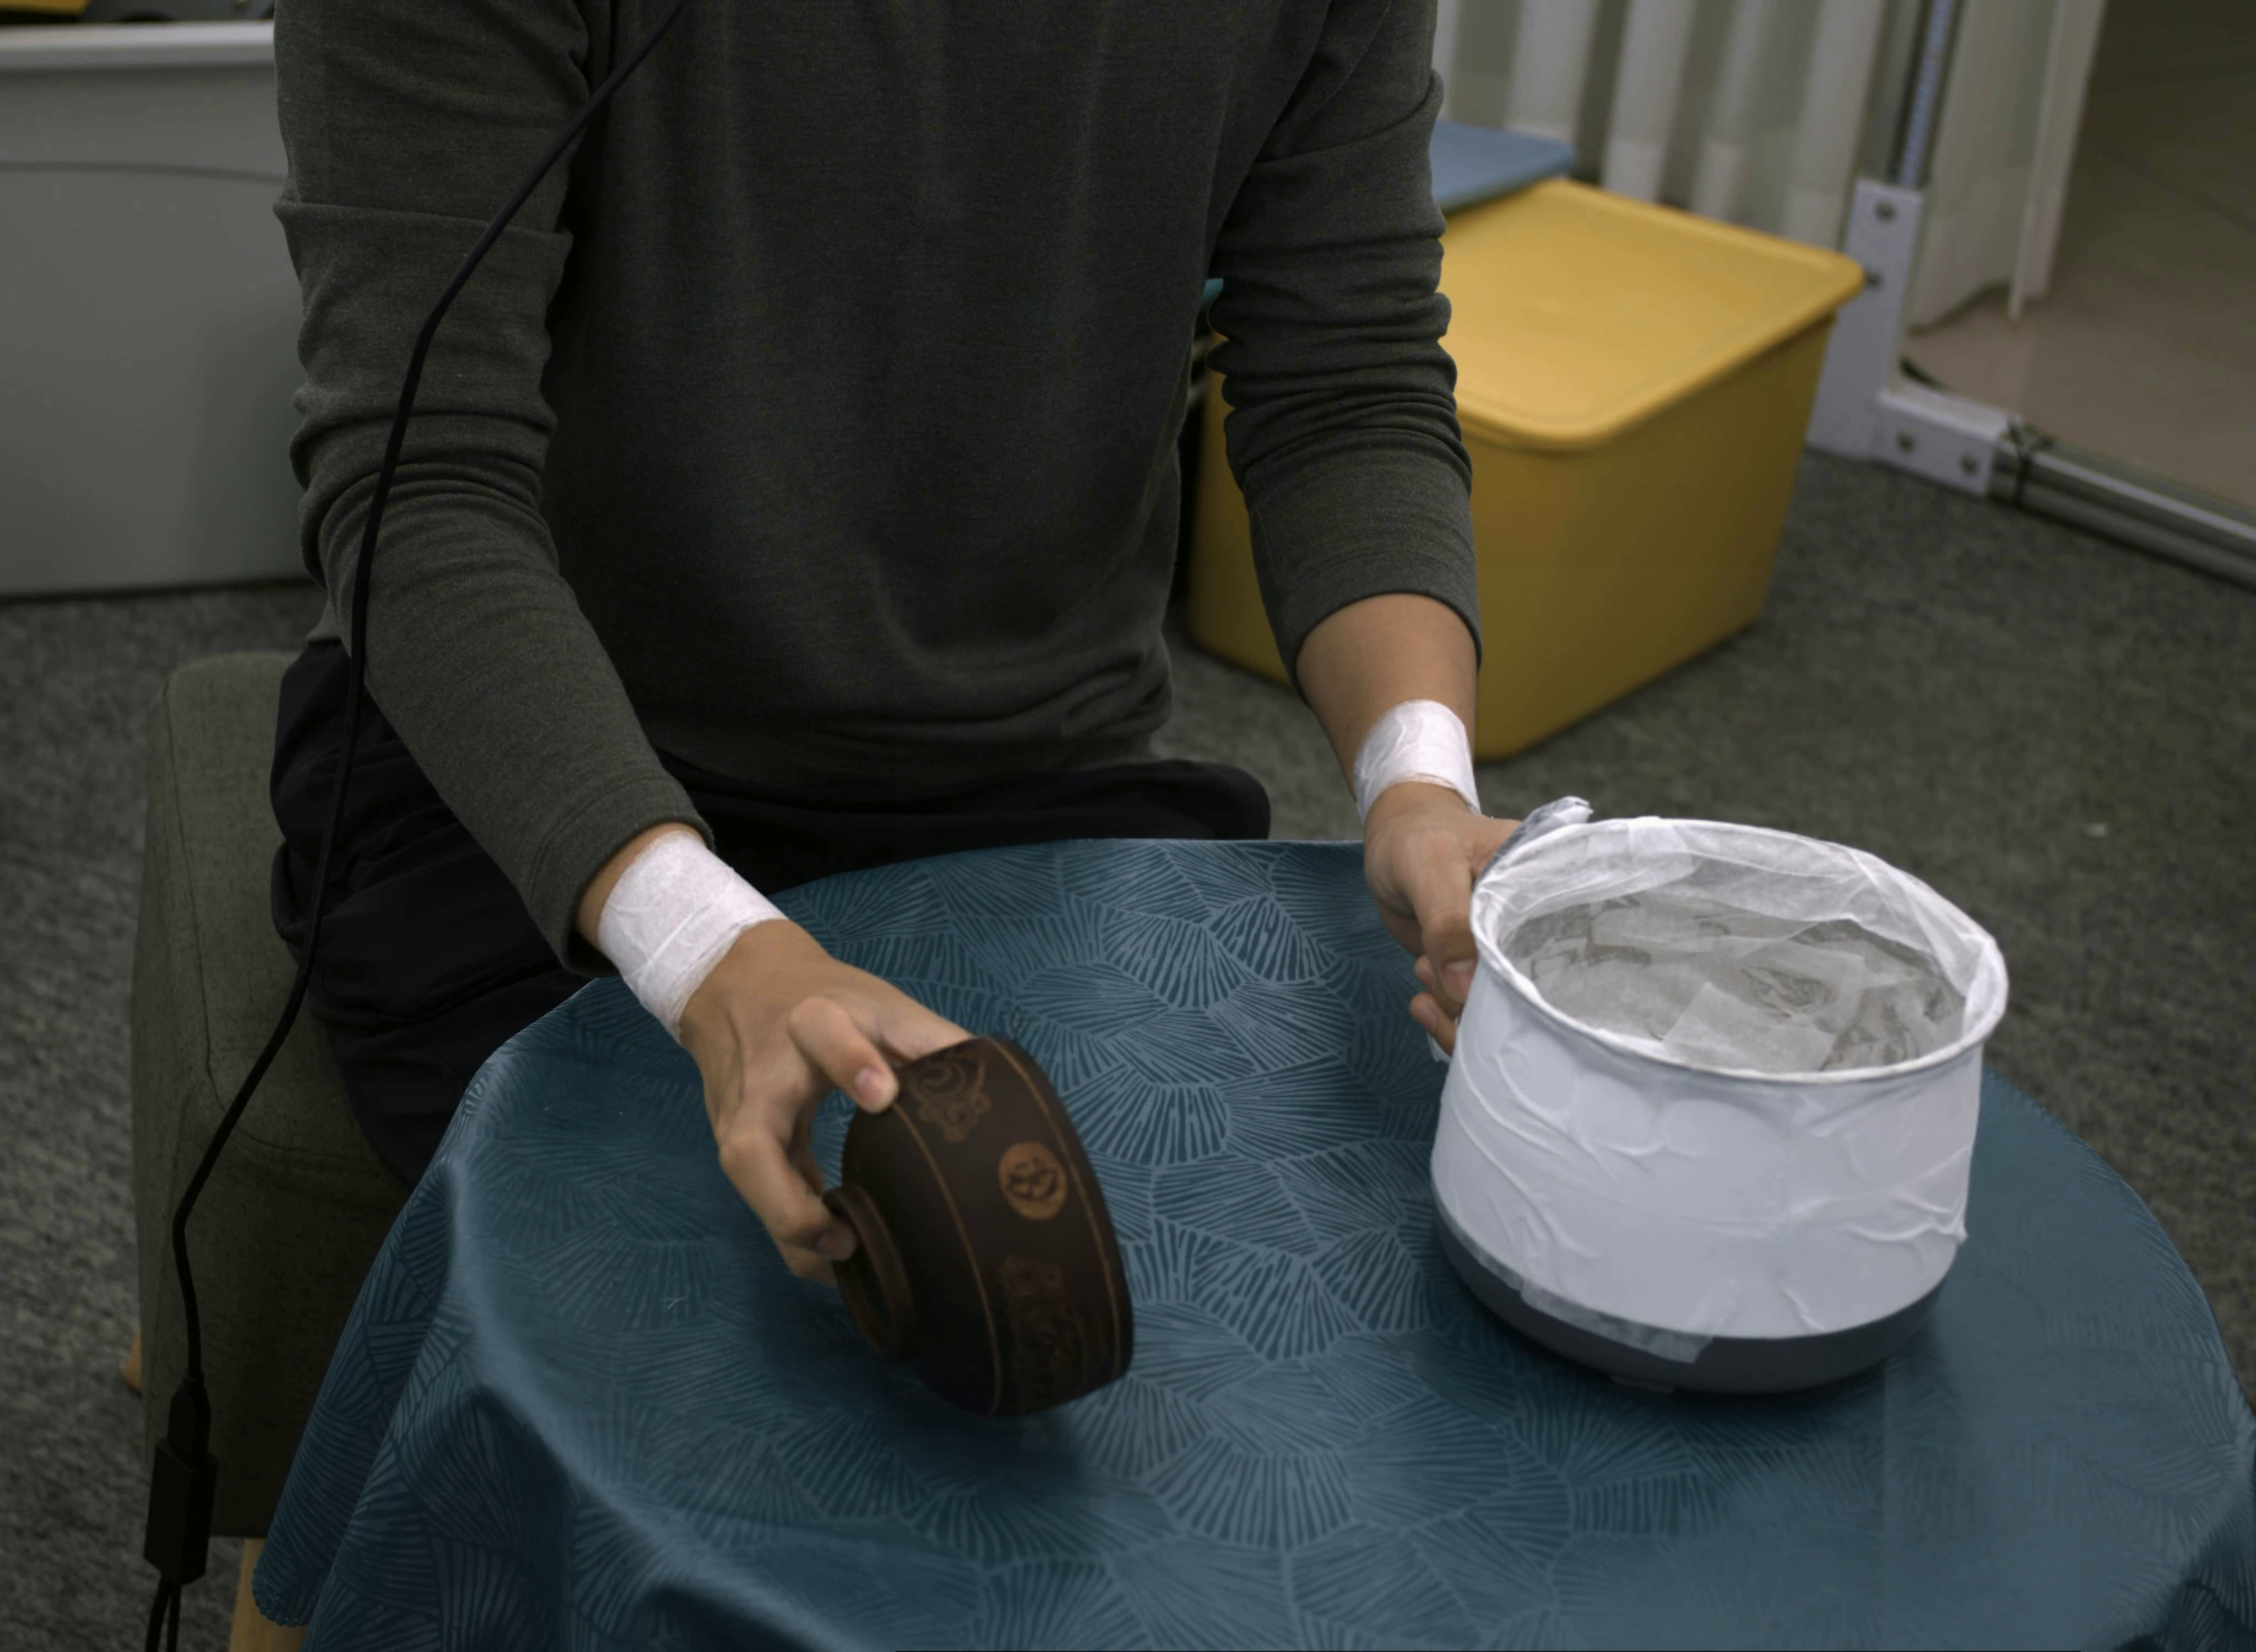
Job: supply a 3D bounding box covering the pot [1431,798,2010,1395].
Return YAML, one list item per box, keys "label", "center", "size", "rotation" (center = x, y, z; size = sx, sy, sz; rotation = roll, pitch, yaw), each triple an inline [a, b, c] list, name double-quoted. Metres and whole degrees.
- label: "pot"
  center: [0.178, 0.083, 1.778]
  size: [0.177, 0.136, 0.236]
  rotation: [-10, 30, -30]

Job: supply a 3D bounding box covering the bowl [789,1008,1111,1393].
- label: "bowl"
  center: [-0.062, 0.121, 1.649]
  size: [0.069, 0.117, 0.119]
  rotation: [-19, 35, -23]
